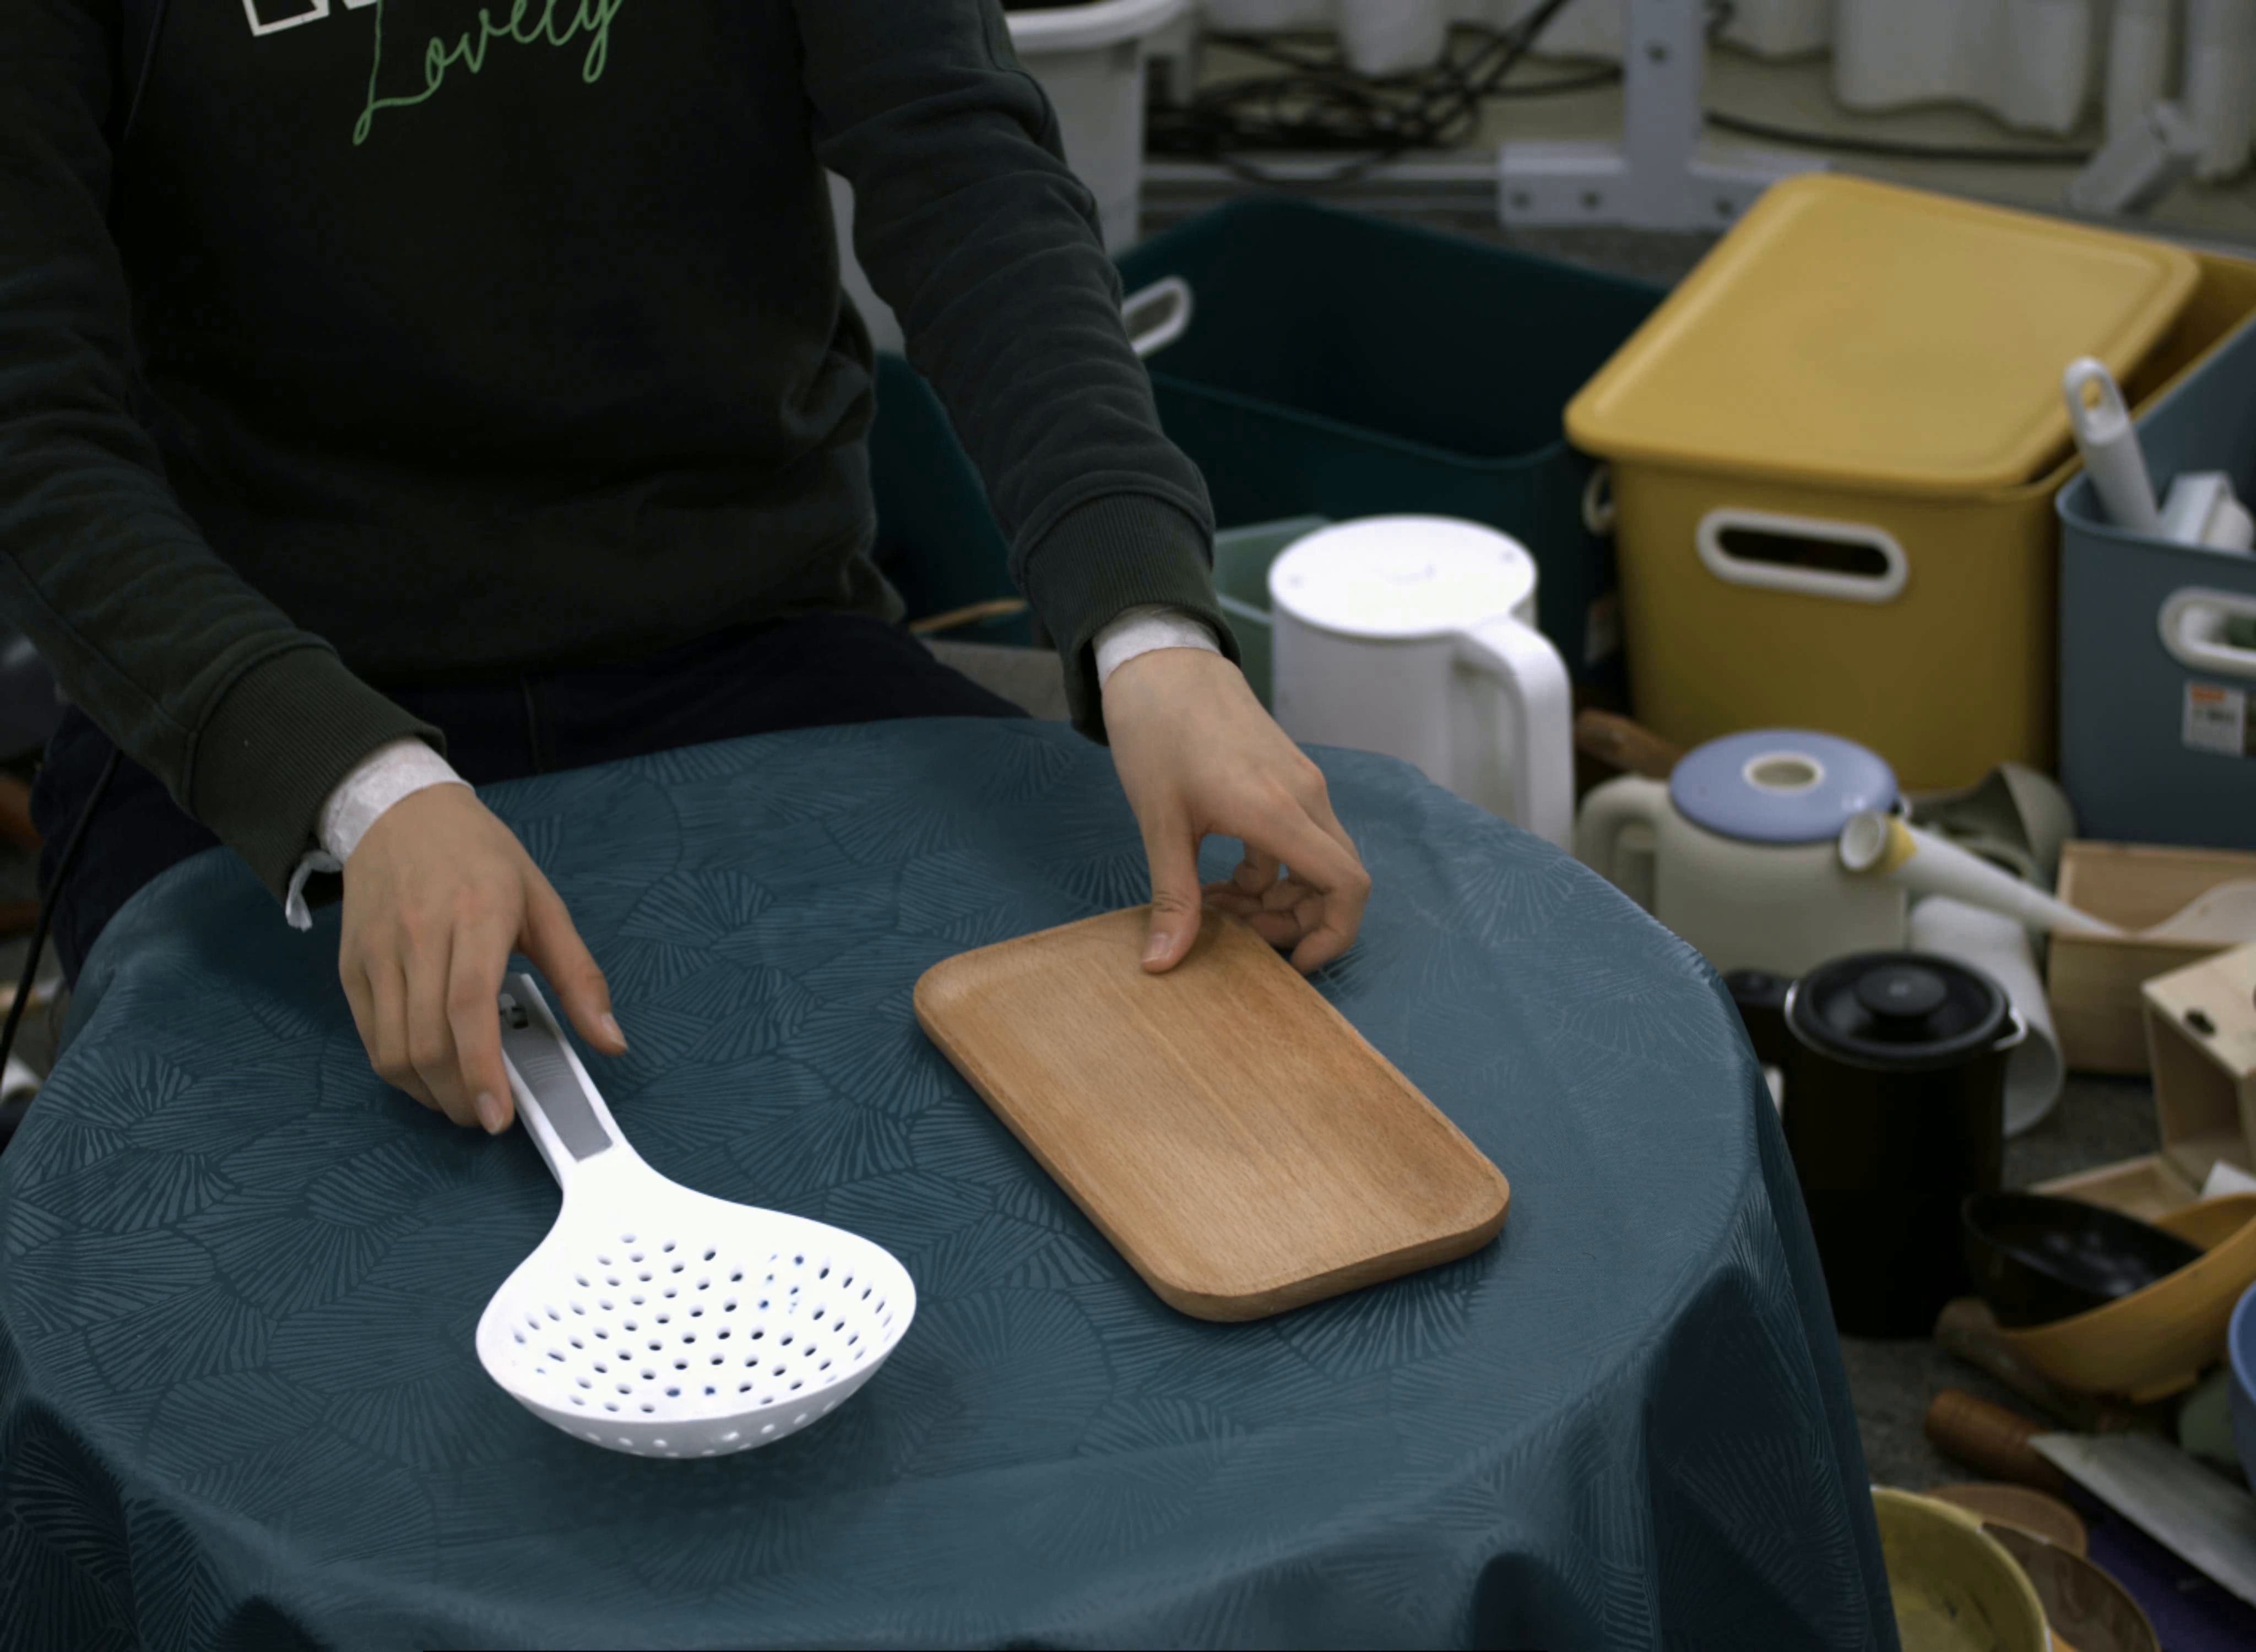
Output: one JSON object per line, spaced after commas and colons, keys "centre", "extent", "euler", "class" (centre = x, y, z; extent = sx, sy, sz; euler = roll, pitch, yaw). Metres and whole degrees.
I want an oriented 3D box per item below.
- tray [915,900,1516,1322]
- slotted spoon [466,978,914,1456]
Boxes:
{"centre": [0.026, 0.093, 1.895], "extent": [0.131, 0.022, 0.252], "euler": [-12, 28, -21], "class": "tray"}
{"centre": [-0.168, 0.121, 1.830], "extent": [0.136, 0.045, 0.353], "euler": [-9, 27, -16], "class": "slotted spoon"}
